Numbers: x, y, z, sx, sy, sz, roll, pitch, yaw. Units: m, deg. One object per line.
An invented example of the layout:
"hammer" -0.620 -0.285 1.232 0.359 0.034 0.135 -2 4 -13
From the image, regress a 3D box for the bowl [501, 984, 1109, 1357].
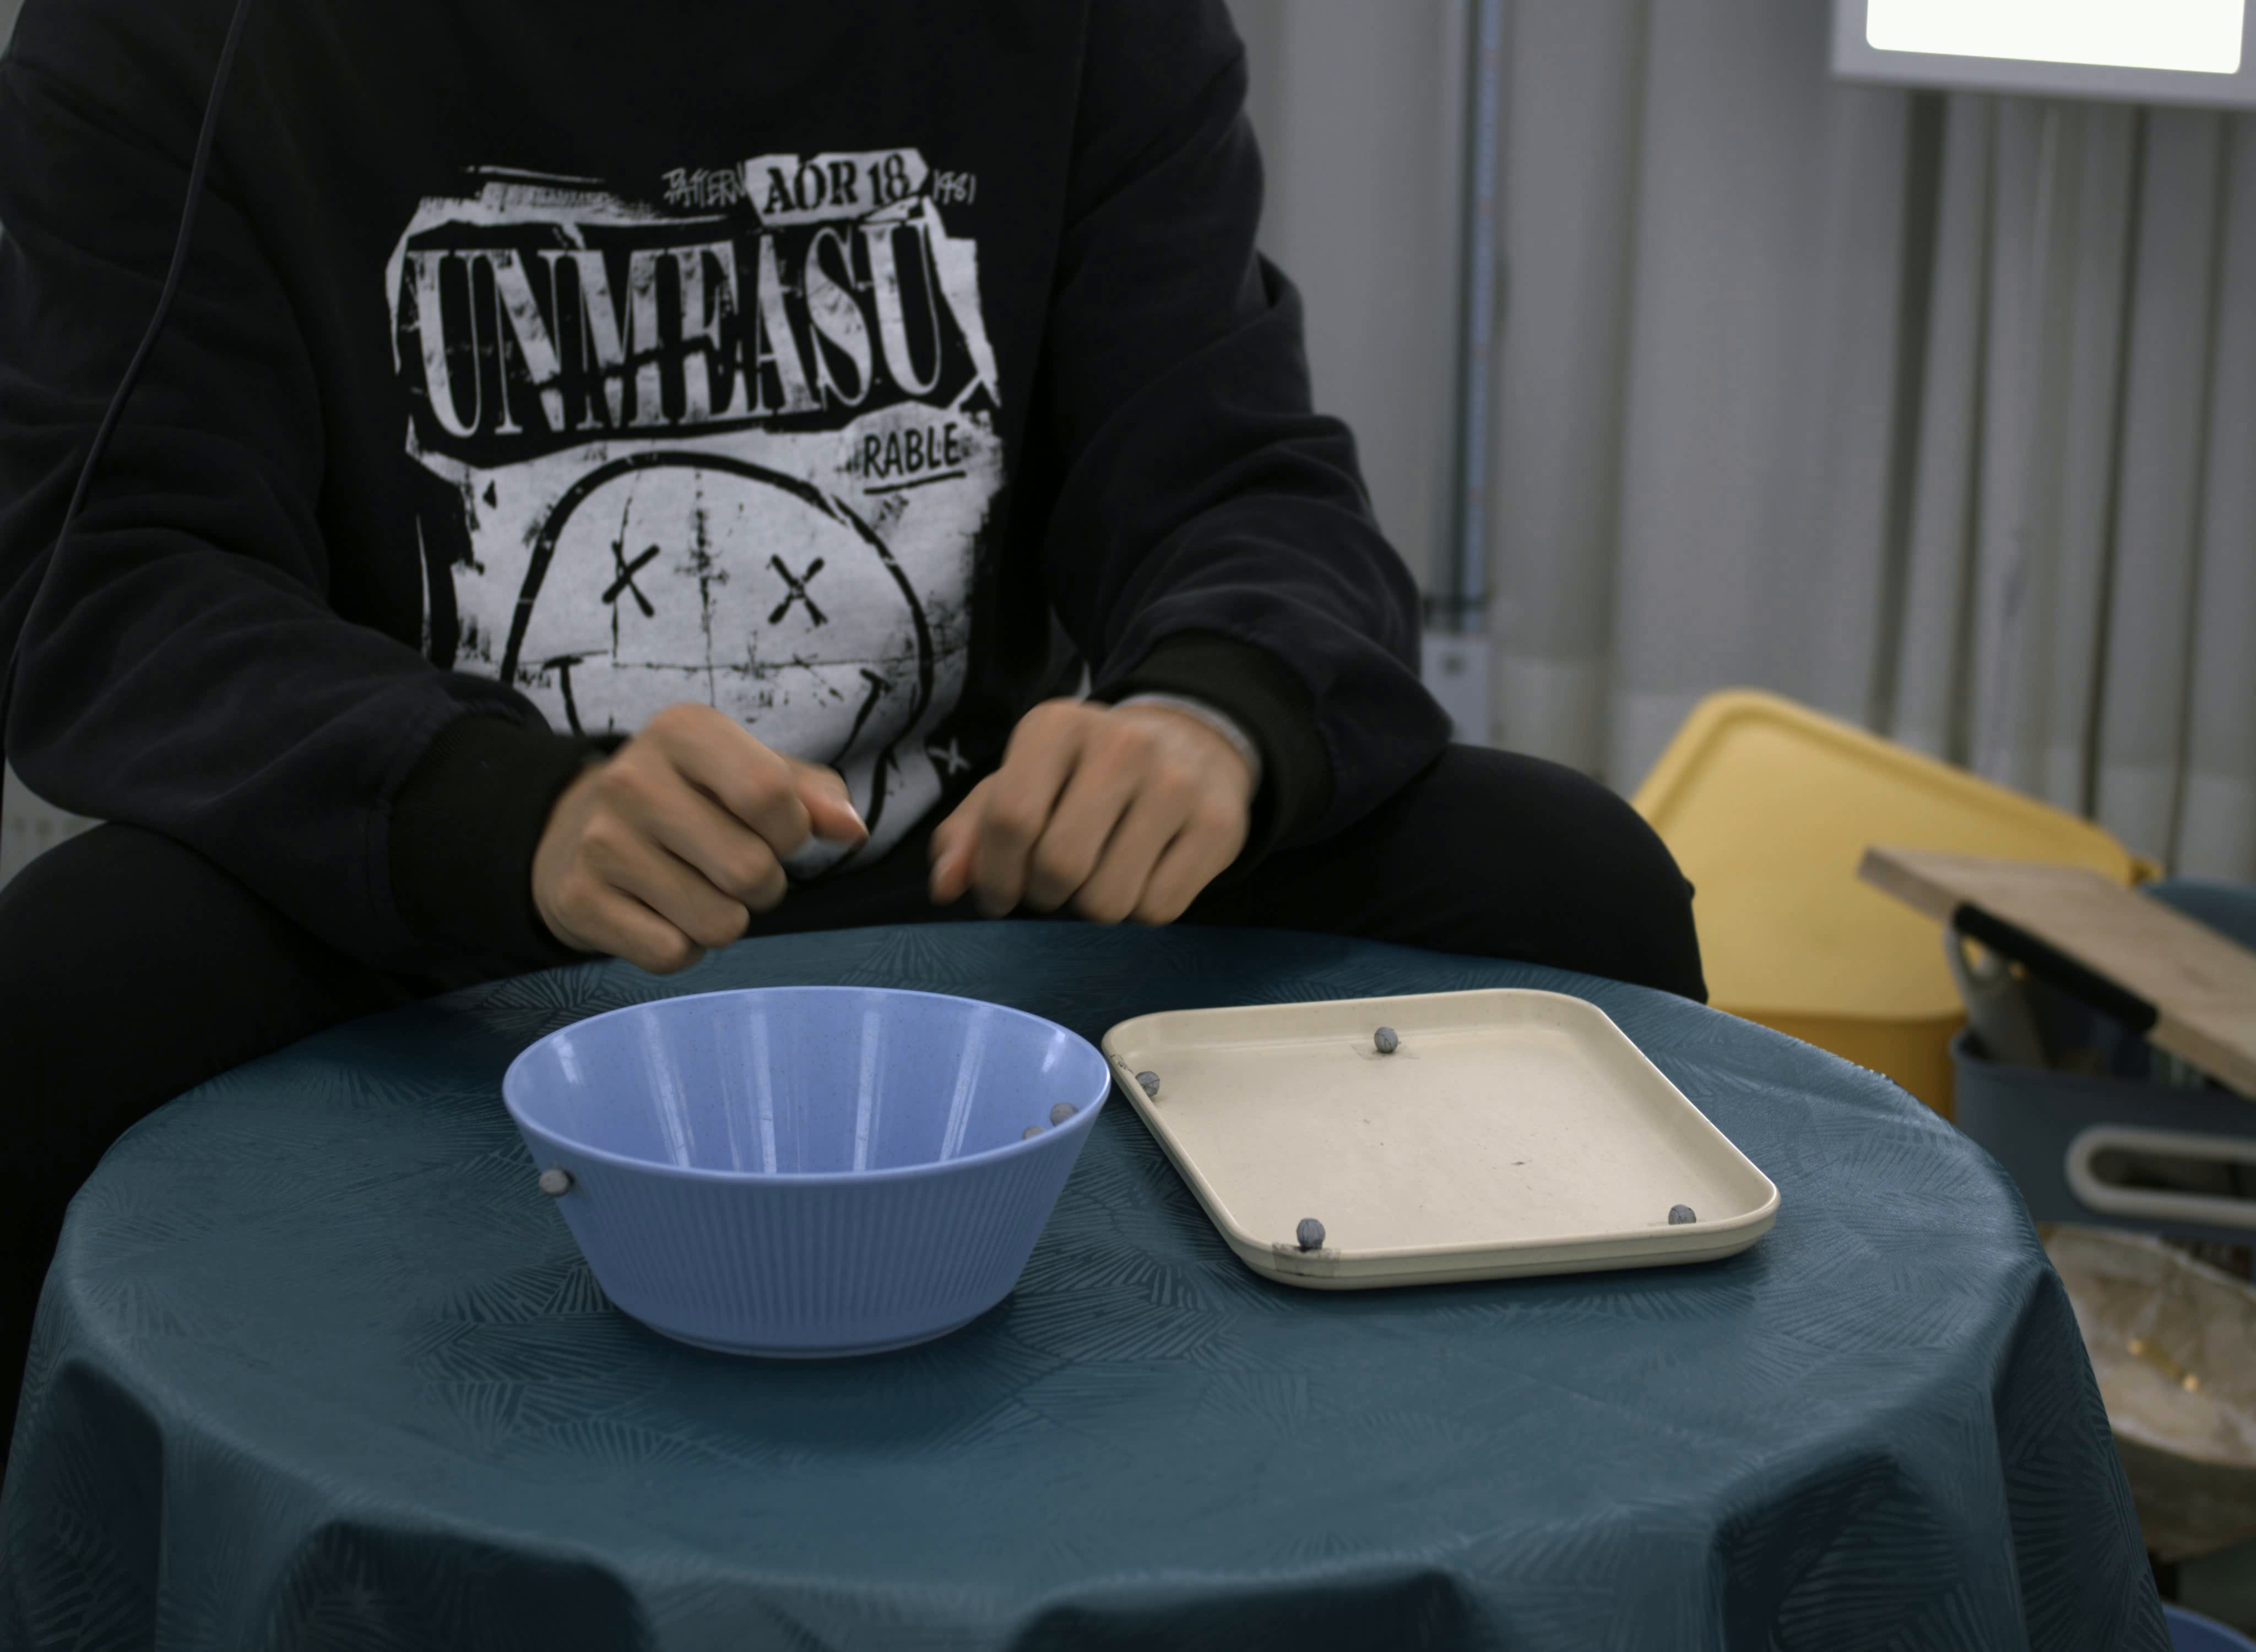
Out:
"bowl" -0.094 0.102 1.528 0.175 0.071 0.175 1 17 0

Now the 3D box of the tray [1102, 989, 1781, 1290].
"tray" 0.094 0.097 1.653 0.171 0.017 0.237 -2 16 -12
